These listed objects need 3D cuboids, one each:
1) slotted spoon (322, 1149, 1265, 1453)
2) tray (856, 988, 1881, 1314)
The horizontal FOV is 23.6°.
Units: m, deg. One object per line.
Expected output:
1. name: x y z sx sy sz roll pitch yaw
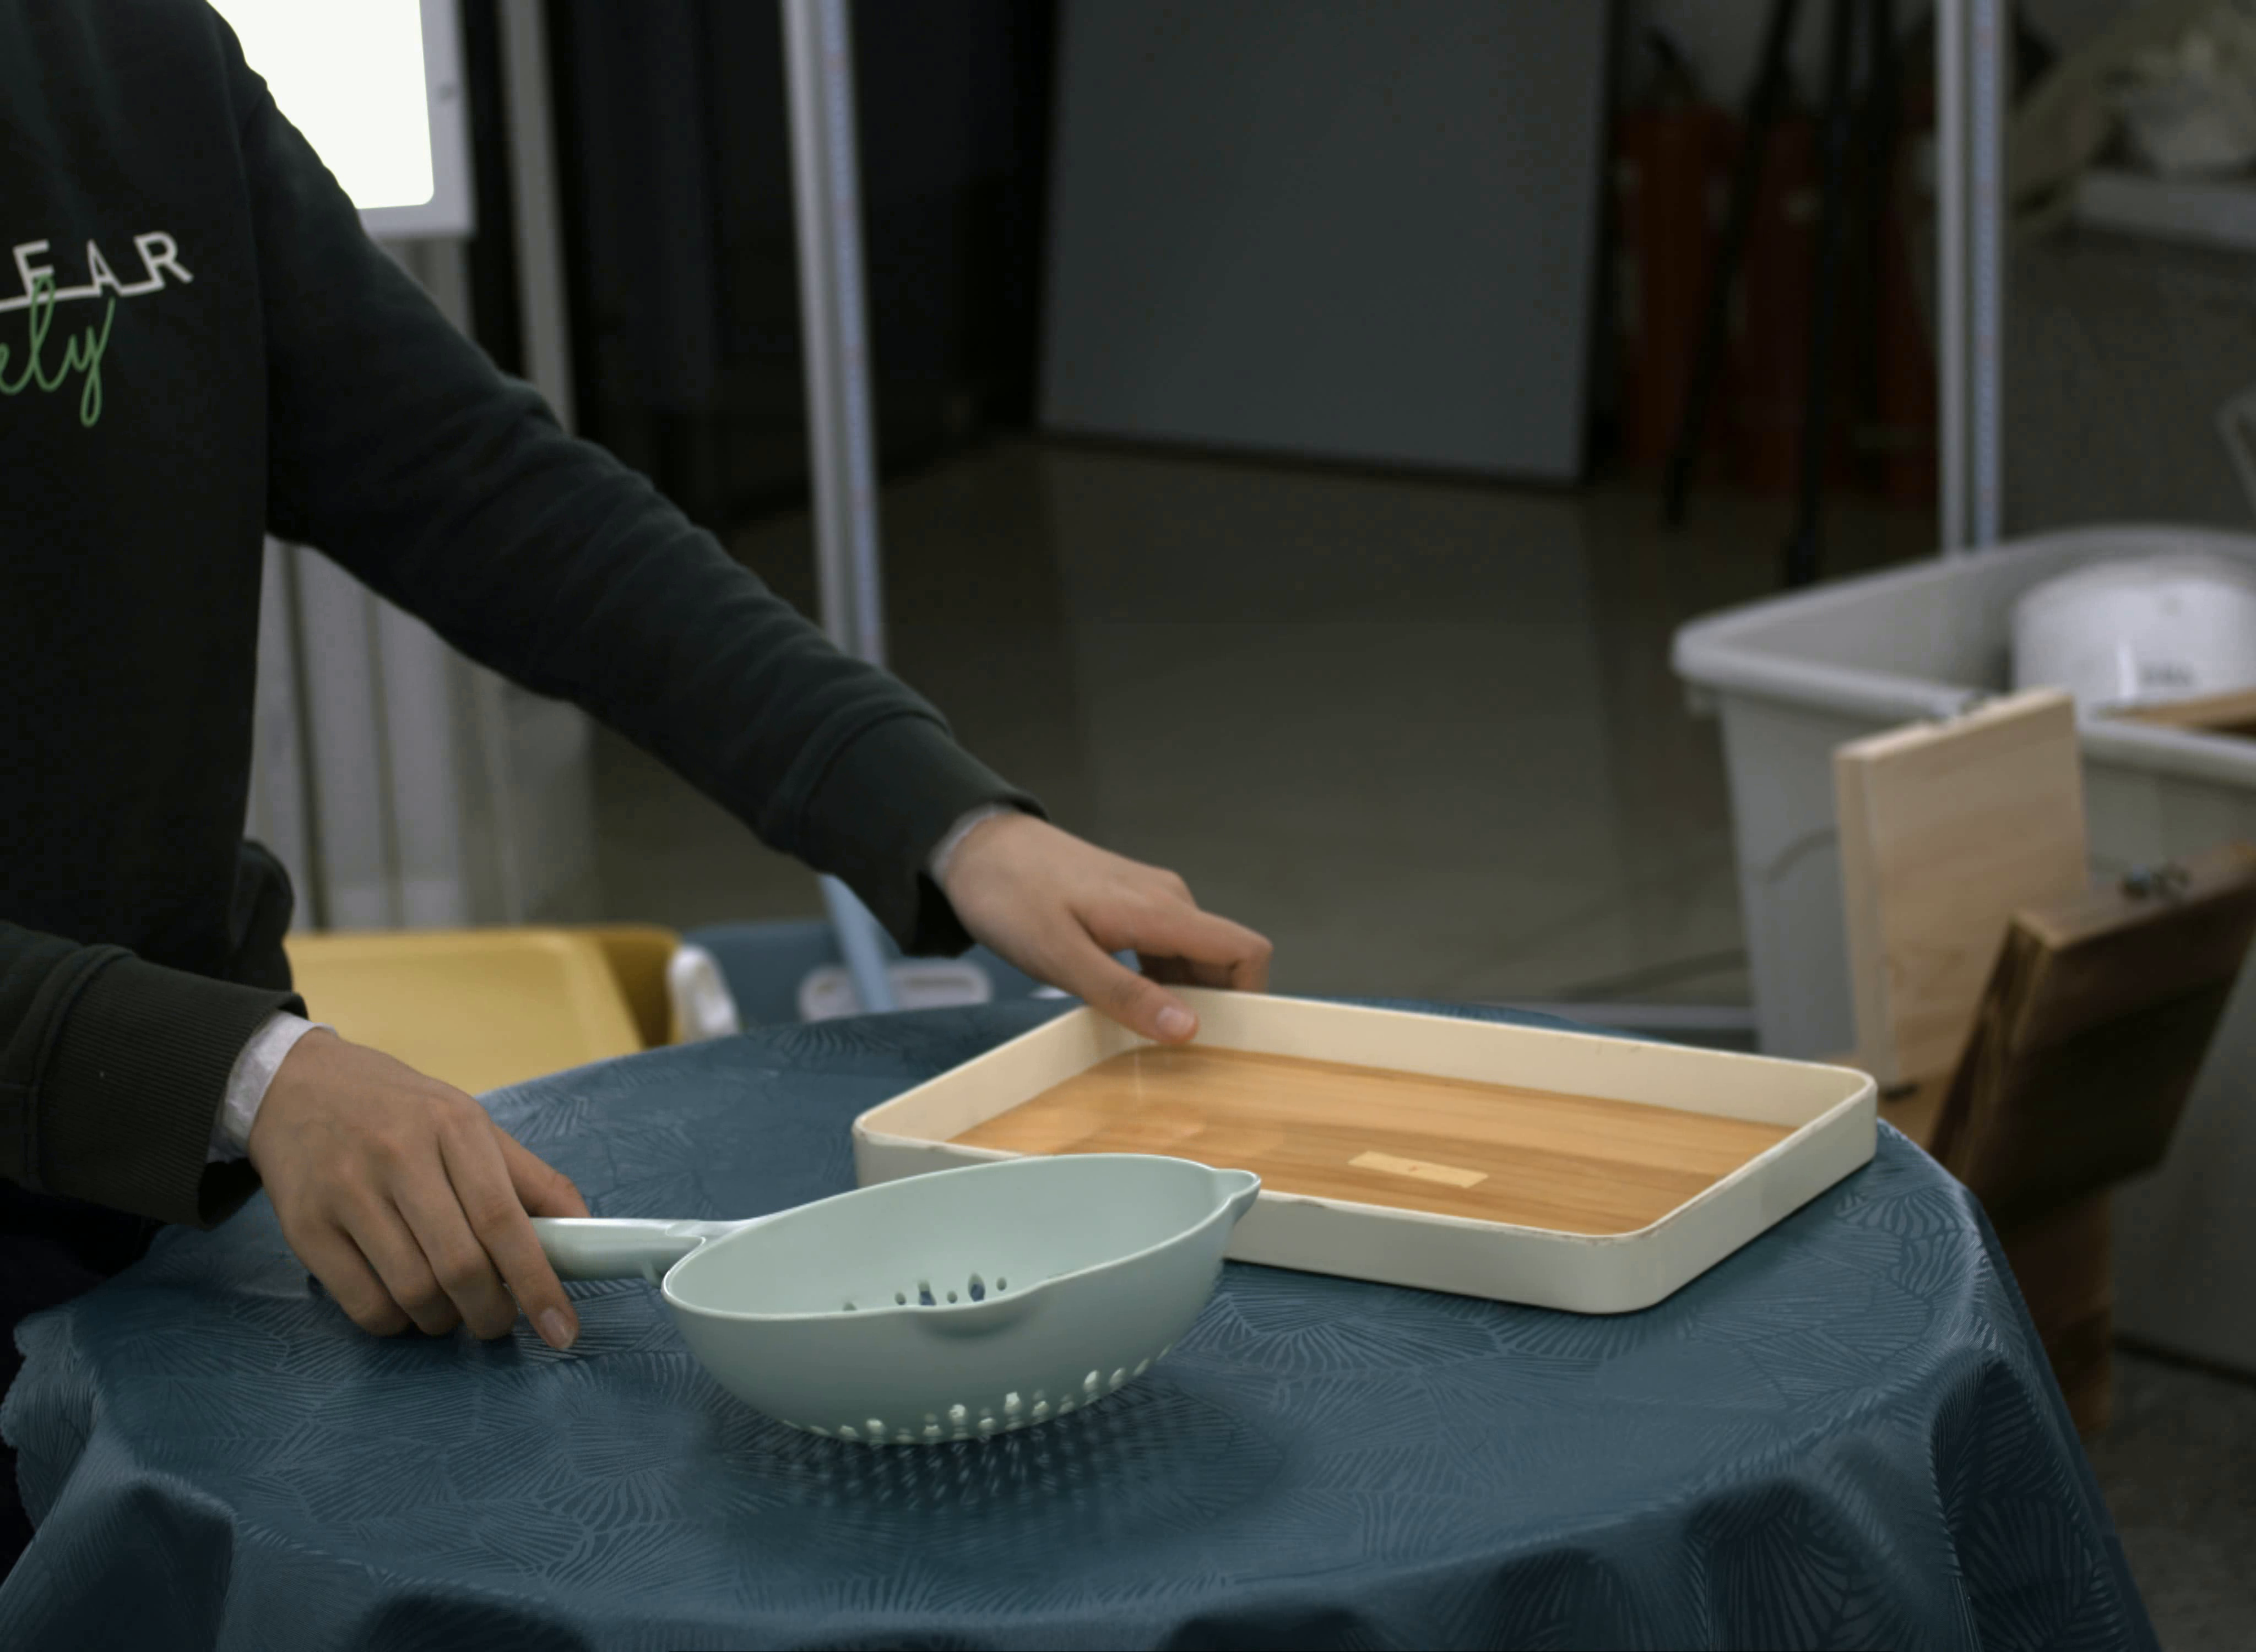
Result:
1. slotted spoon: -0.122 0.133 1.624 0.361 0.076 0.166 8 17 40
2. tray: 0.078 0.103 1.767 0.302 0.028 0.188 6 17 34
